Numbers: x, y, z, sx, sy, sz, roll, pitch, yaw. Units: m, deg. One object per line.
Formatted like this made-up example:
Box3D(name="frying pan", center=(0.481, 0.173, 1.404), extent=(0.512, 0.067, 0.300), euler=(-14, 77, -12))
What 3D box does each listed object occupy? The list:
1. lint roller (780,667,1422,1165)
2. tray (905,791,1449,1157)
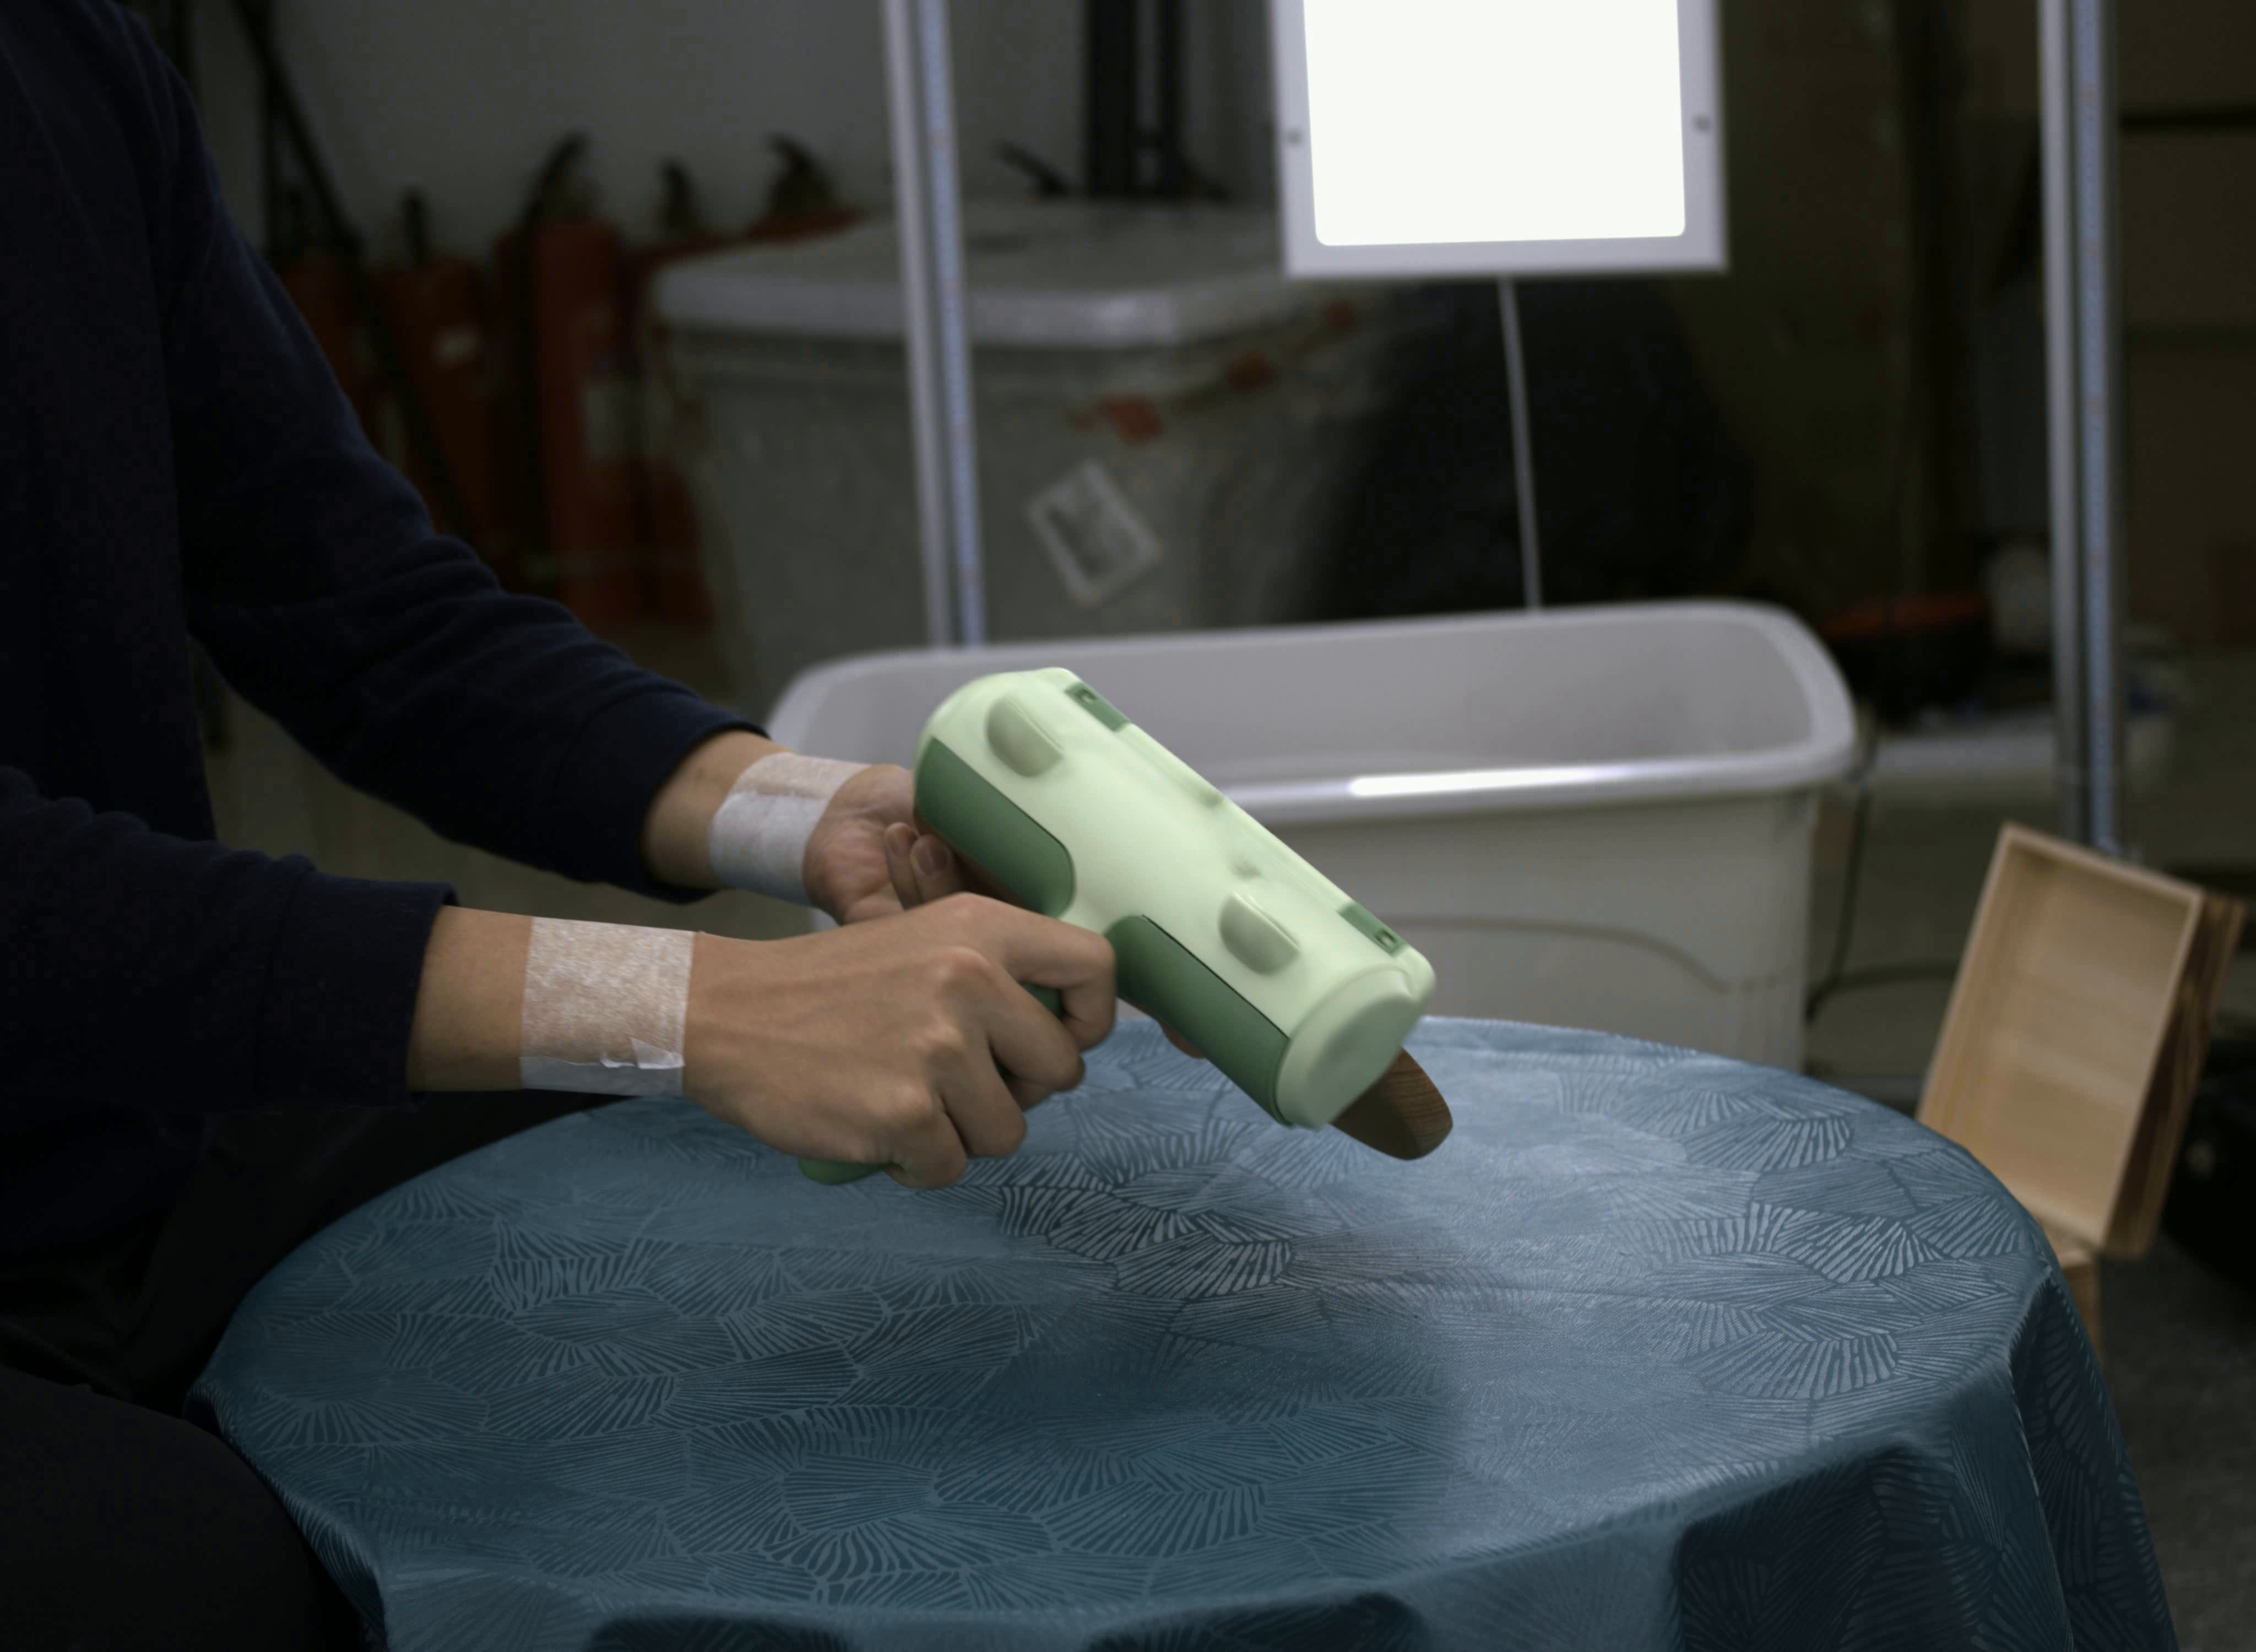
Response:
Box3D(name="lint roller", center=(-0.037, 0.037, 1.724), extent=(0.179, 0.082, 0.201), euler=(-31, 50, -27))
Box3D(name="tray", center=(0.013, 0.045, 1.824), extent=(0.235, 0.101, 0.020), euler=(28, 69, 34))
